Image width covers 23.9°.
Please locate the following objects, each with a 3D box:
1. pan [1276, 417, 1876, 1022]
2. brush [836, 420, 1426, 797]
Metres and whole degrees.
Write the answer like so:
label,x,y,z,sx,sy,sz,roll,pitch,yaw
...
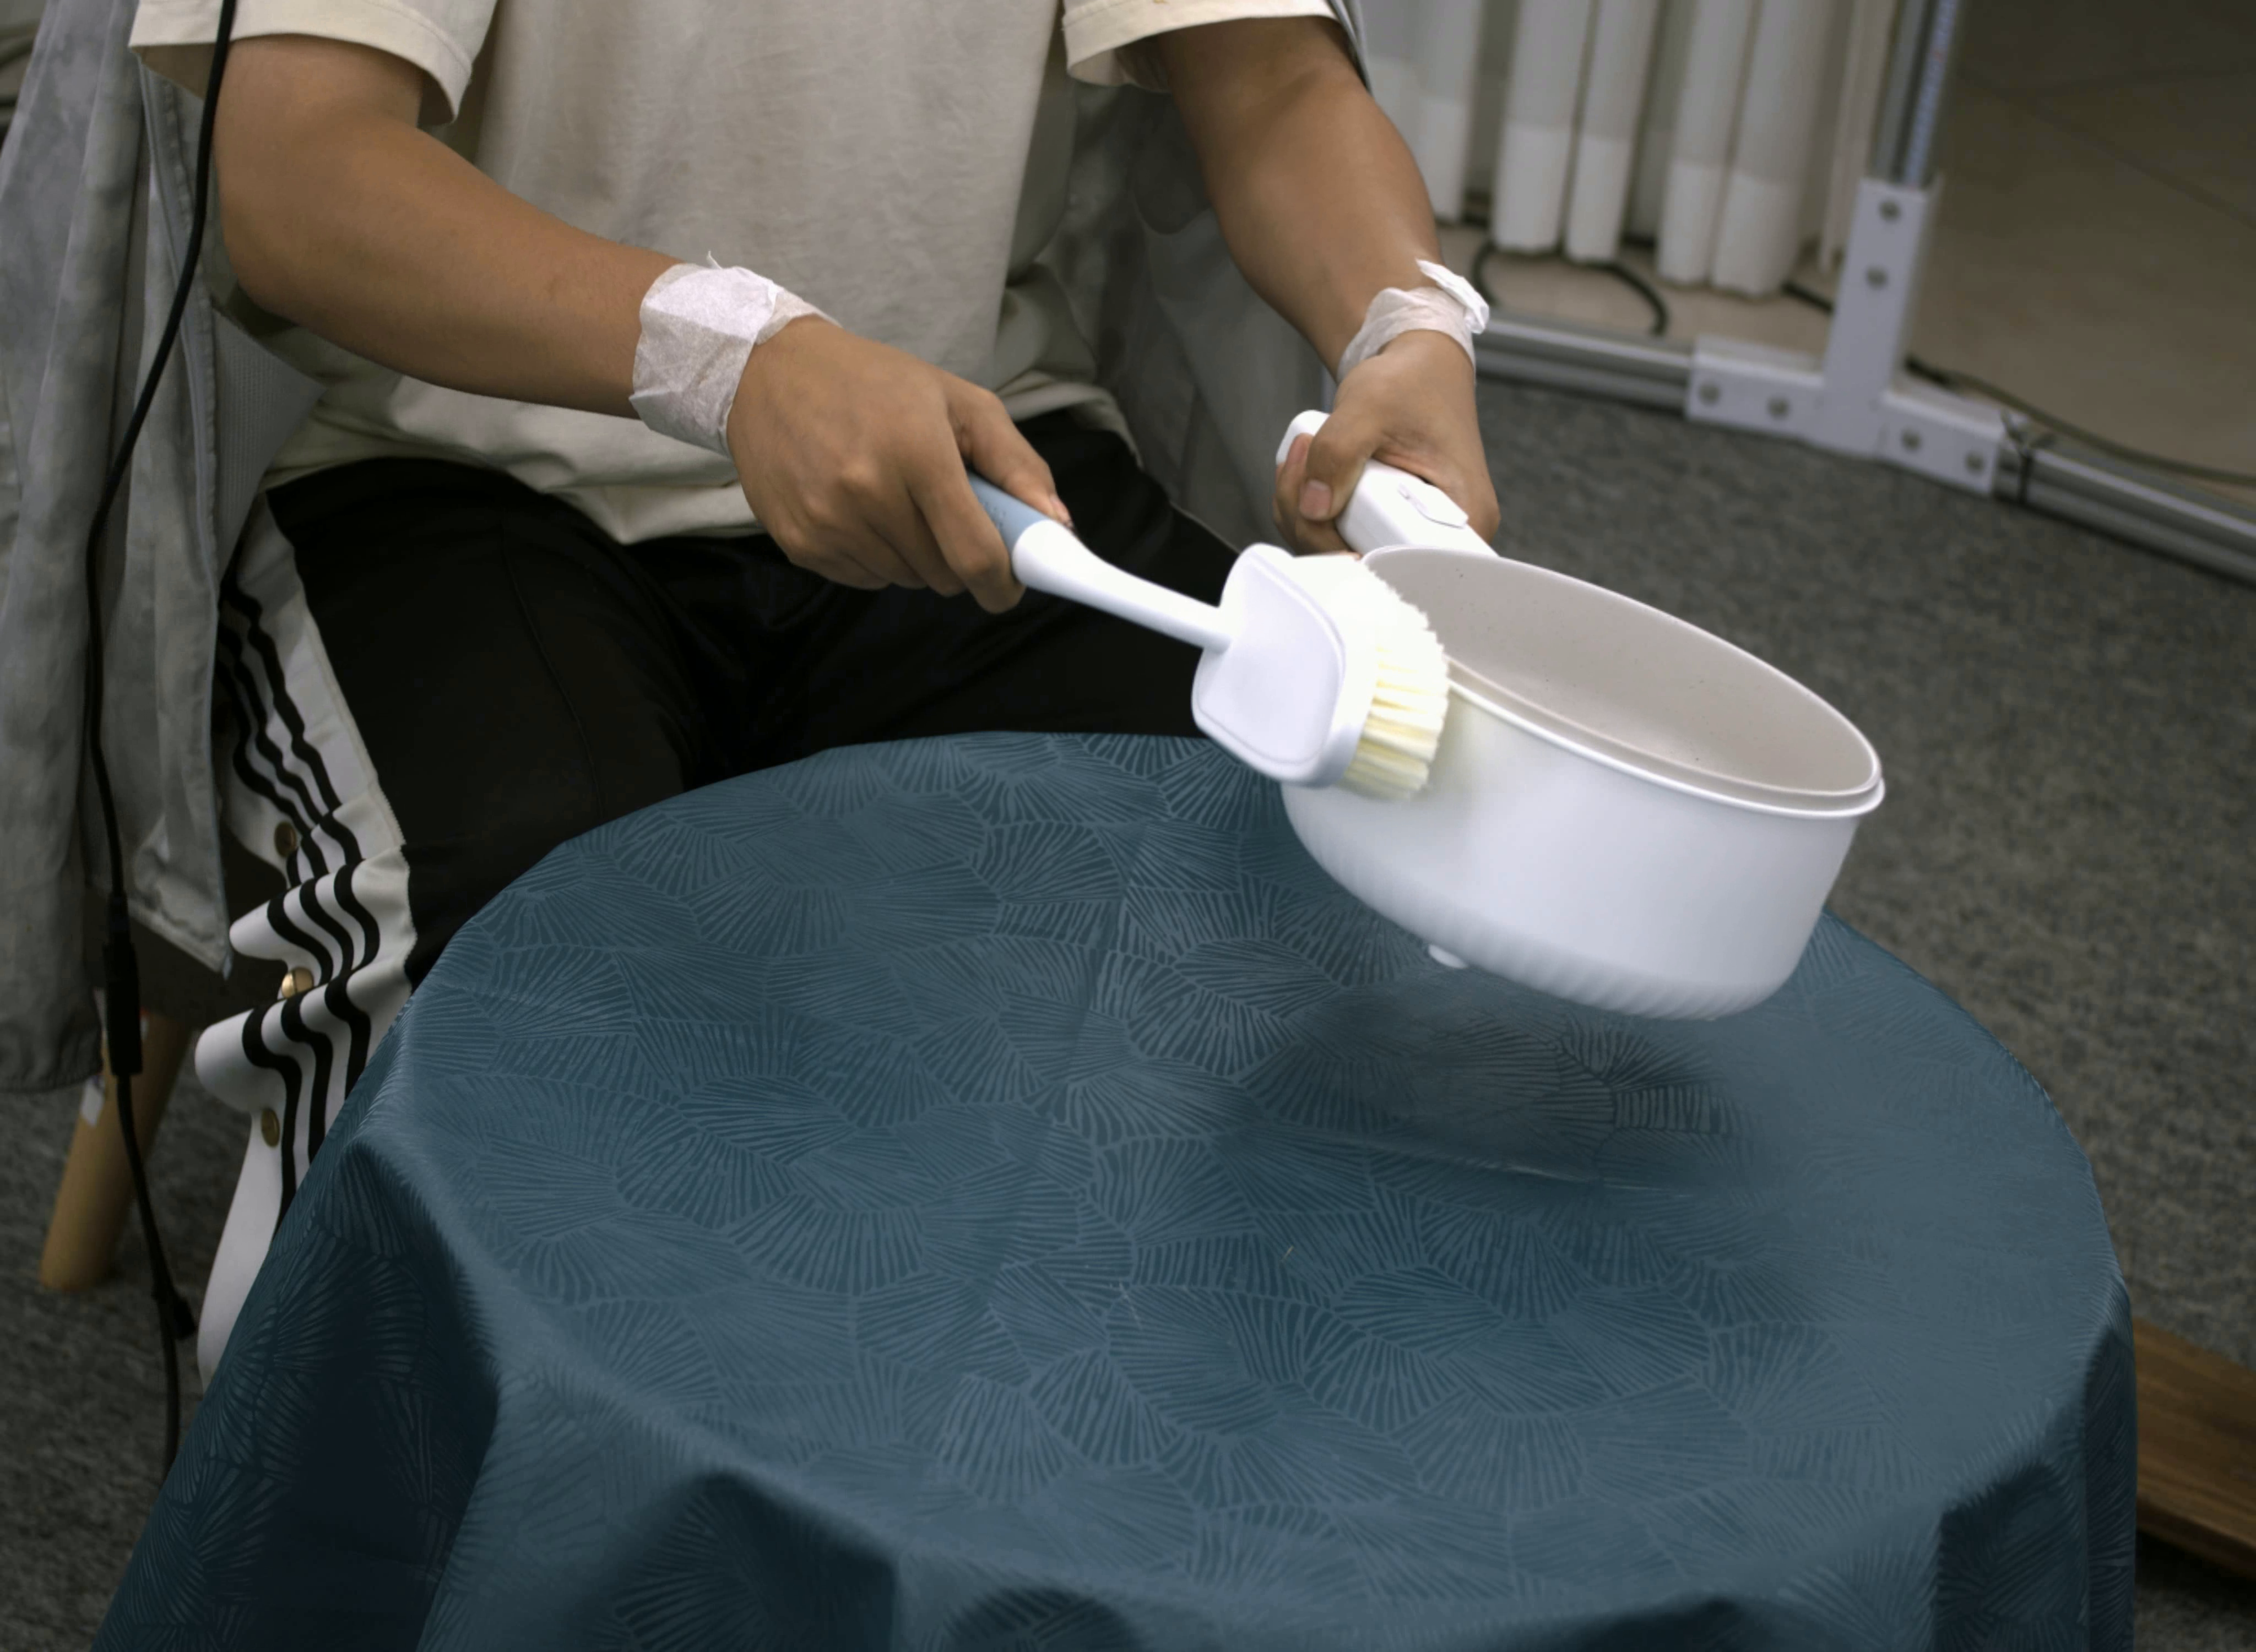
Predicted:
label,x,y,z,sx,sy,sz,roll,pitch,yaw
pan,0.125,-0.042,1.924,0.199,0.102,0.358,12,19,-26
brush,0.011,-0.086,1.860,0.083,0.084,0.328,-43,37,-12
